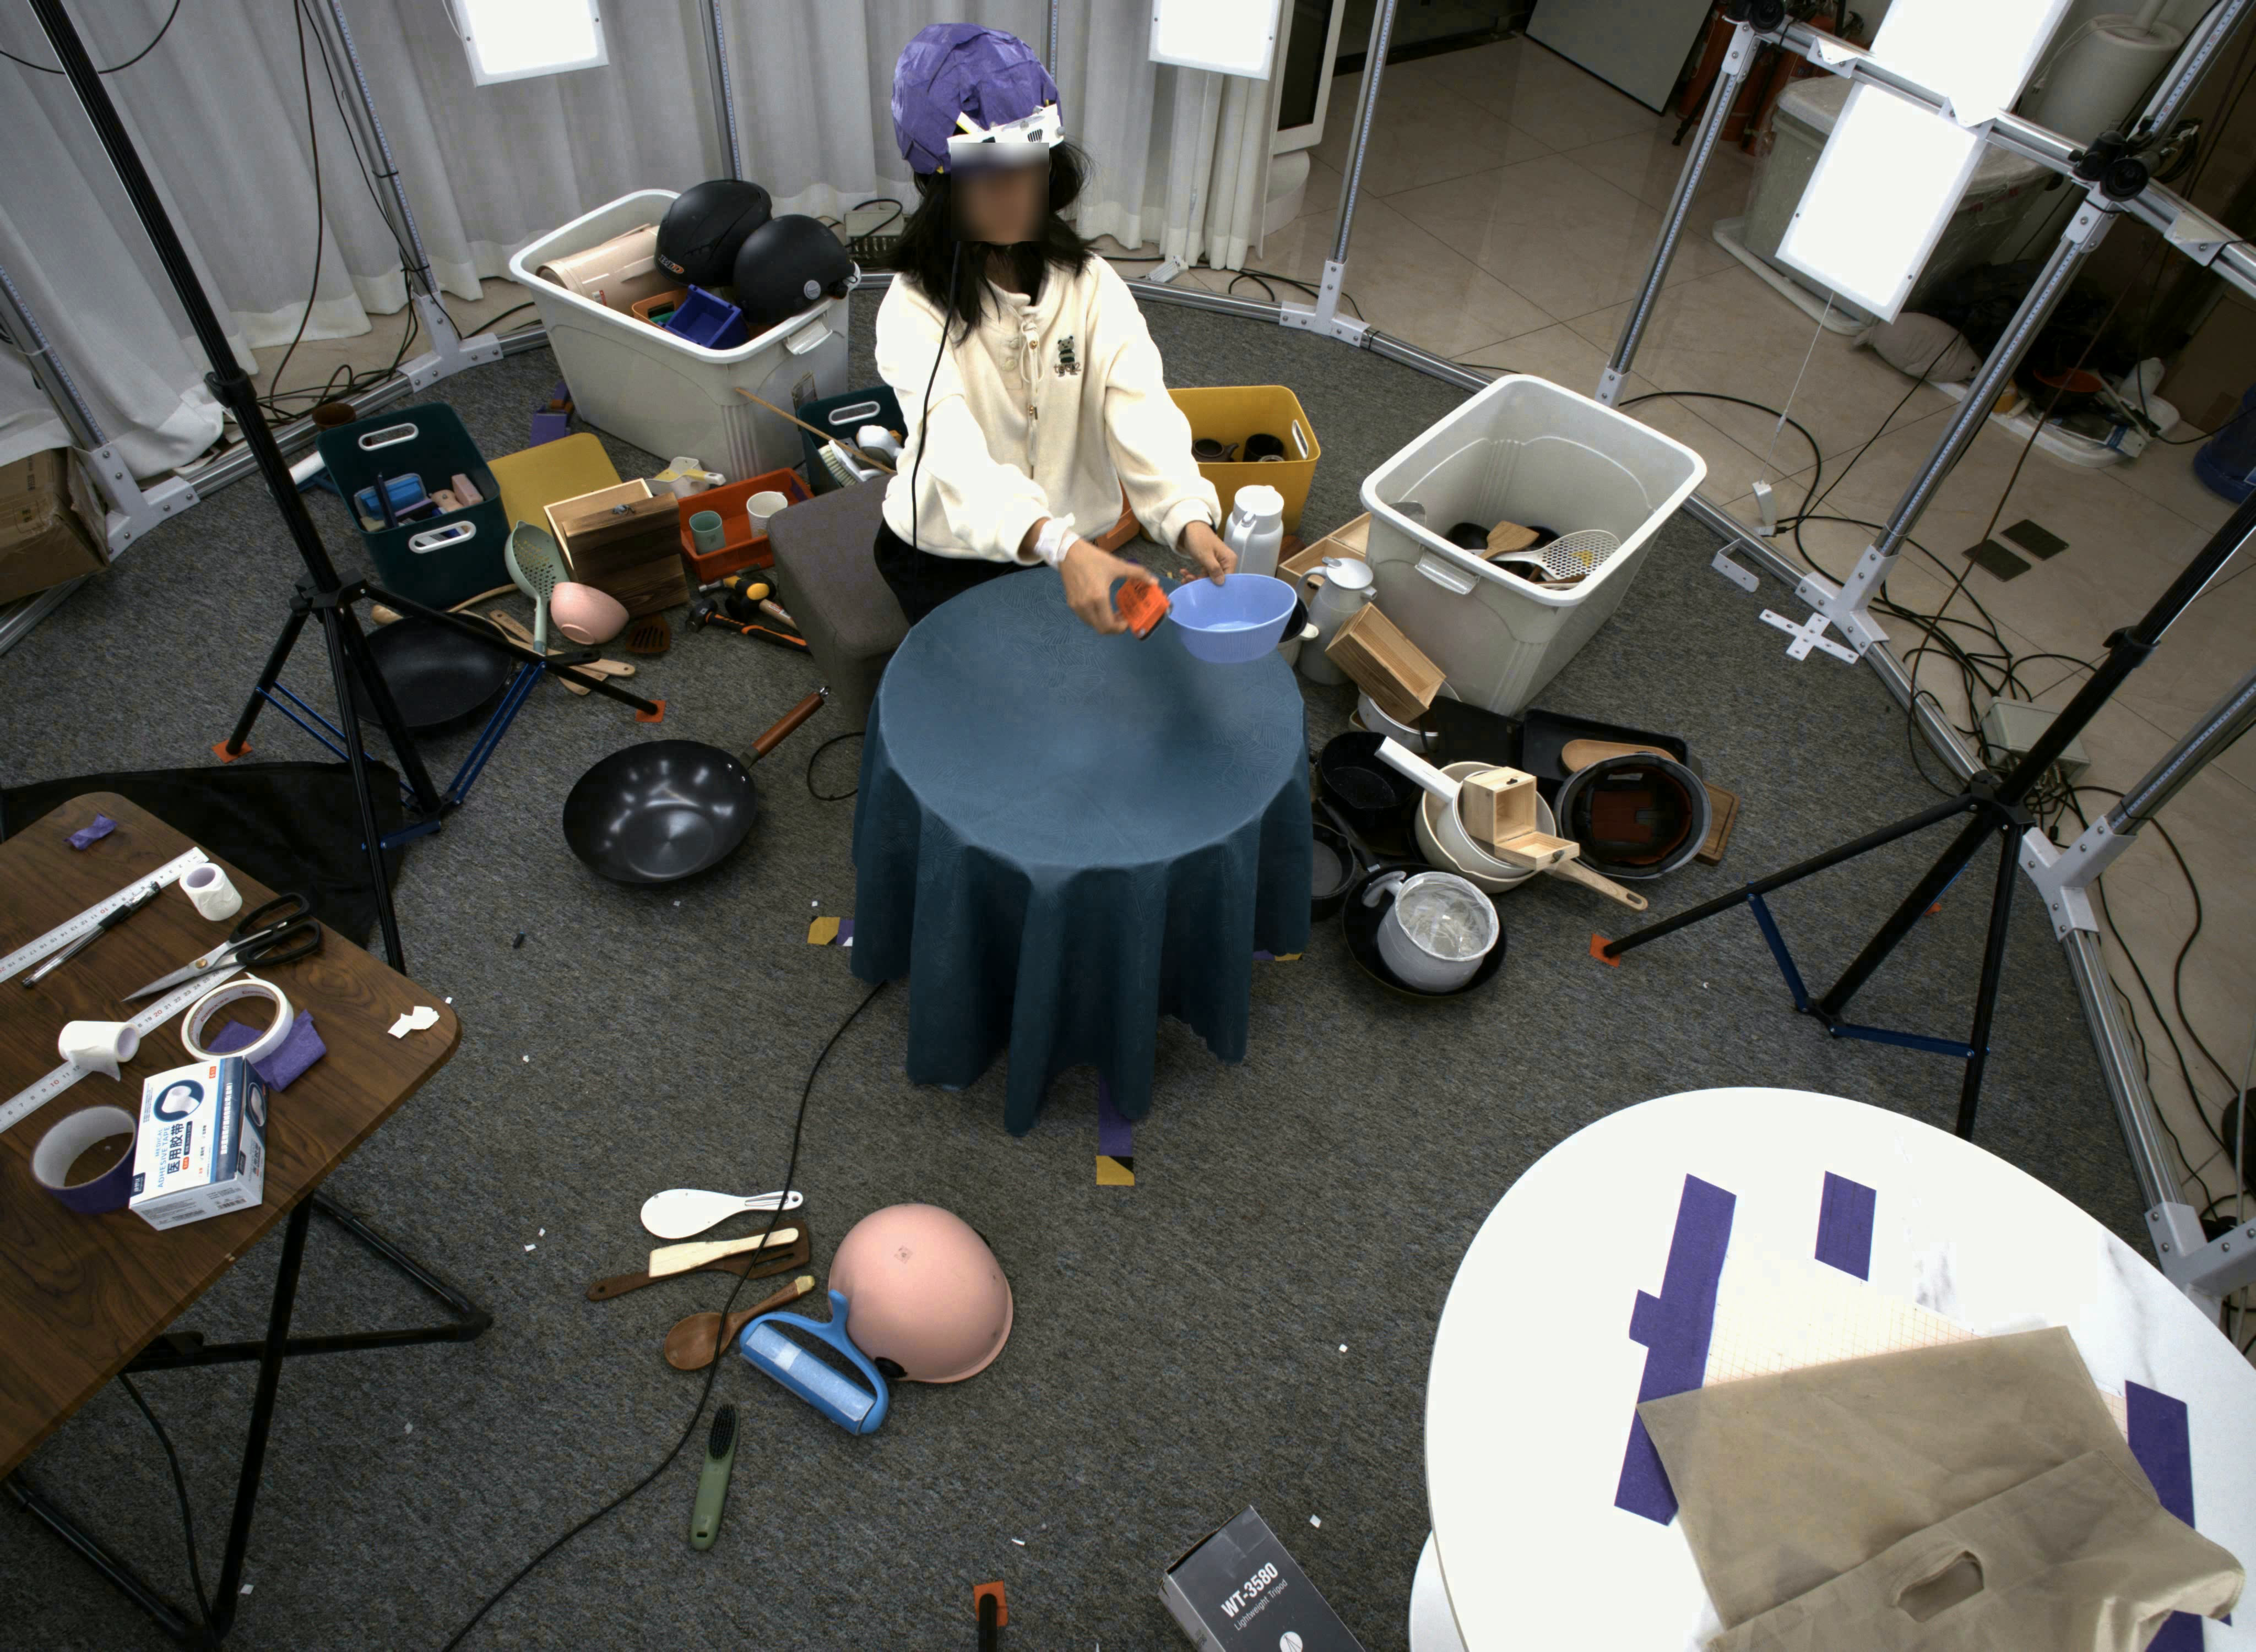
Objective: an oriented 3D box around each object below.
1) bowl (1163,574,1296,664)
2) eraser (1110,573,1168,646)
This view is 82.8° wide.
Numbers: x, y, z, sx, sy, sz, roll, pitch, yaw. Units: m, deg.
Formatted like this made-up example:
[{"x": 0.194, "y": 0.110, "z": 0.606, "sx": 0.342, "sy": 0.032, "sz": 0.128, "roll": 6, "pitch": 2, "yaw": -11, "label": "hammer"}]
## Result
[{"x": 0.136, "y": -0.269, "z": 1.701, "sx": 0.176, "sy": 0.069, "sz": 0.180, "roll": -5, "pitch": 33, "yaw": 3, "label": "bowl"}, {"x": 0.013, "y": -0.280, "z": 1.660, "sx": 0.022, "sy": 0.058, "sz": 0.110, "roll": 31, "pitch": 20, "yaw": -33, "label": "eraser"}]
